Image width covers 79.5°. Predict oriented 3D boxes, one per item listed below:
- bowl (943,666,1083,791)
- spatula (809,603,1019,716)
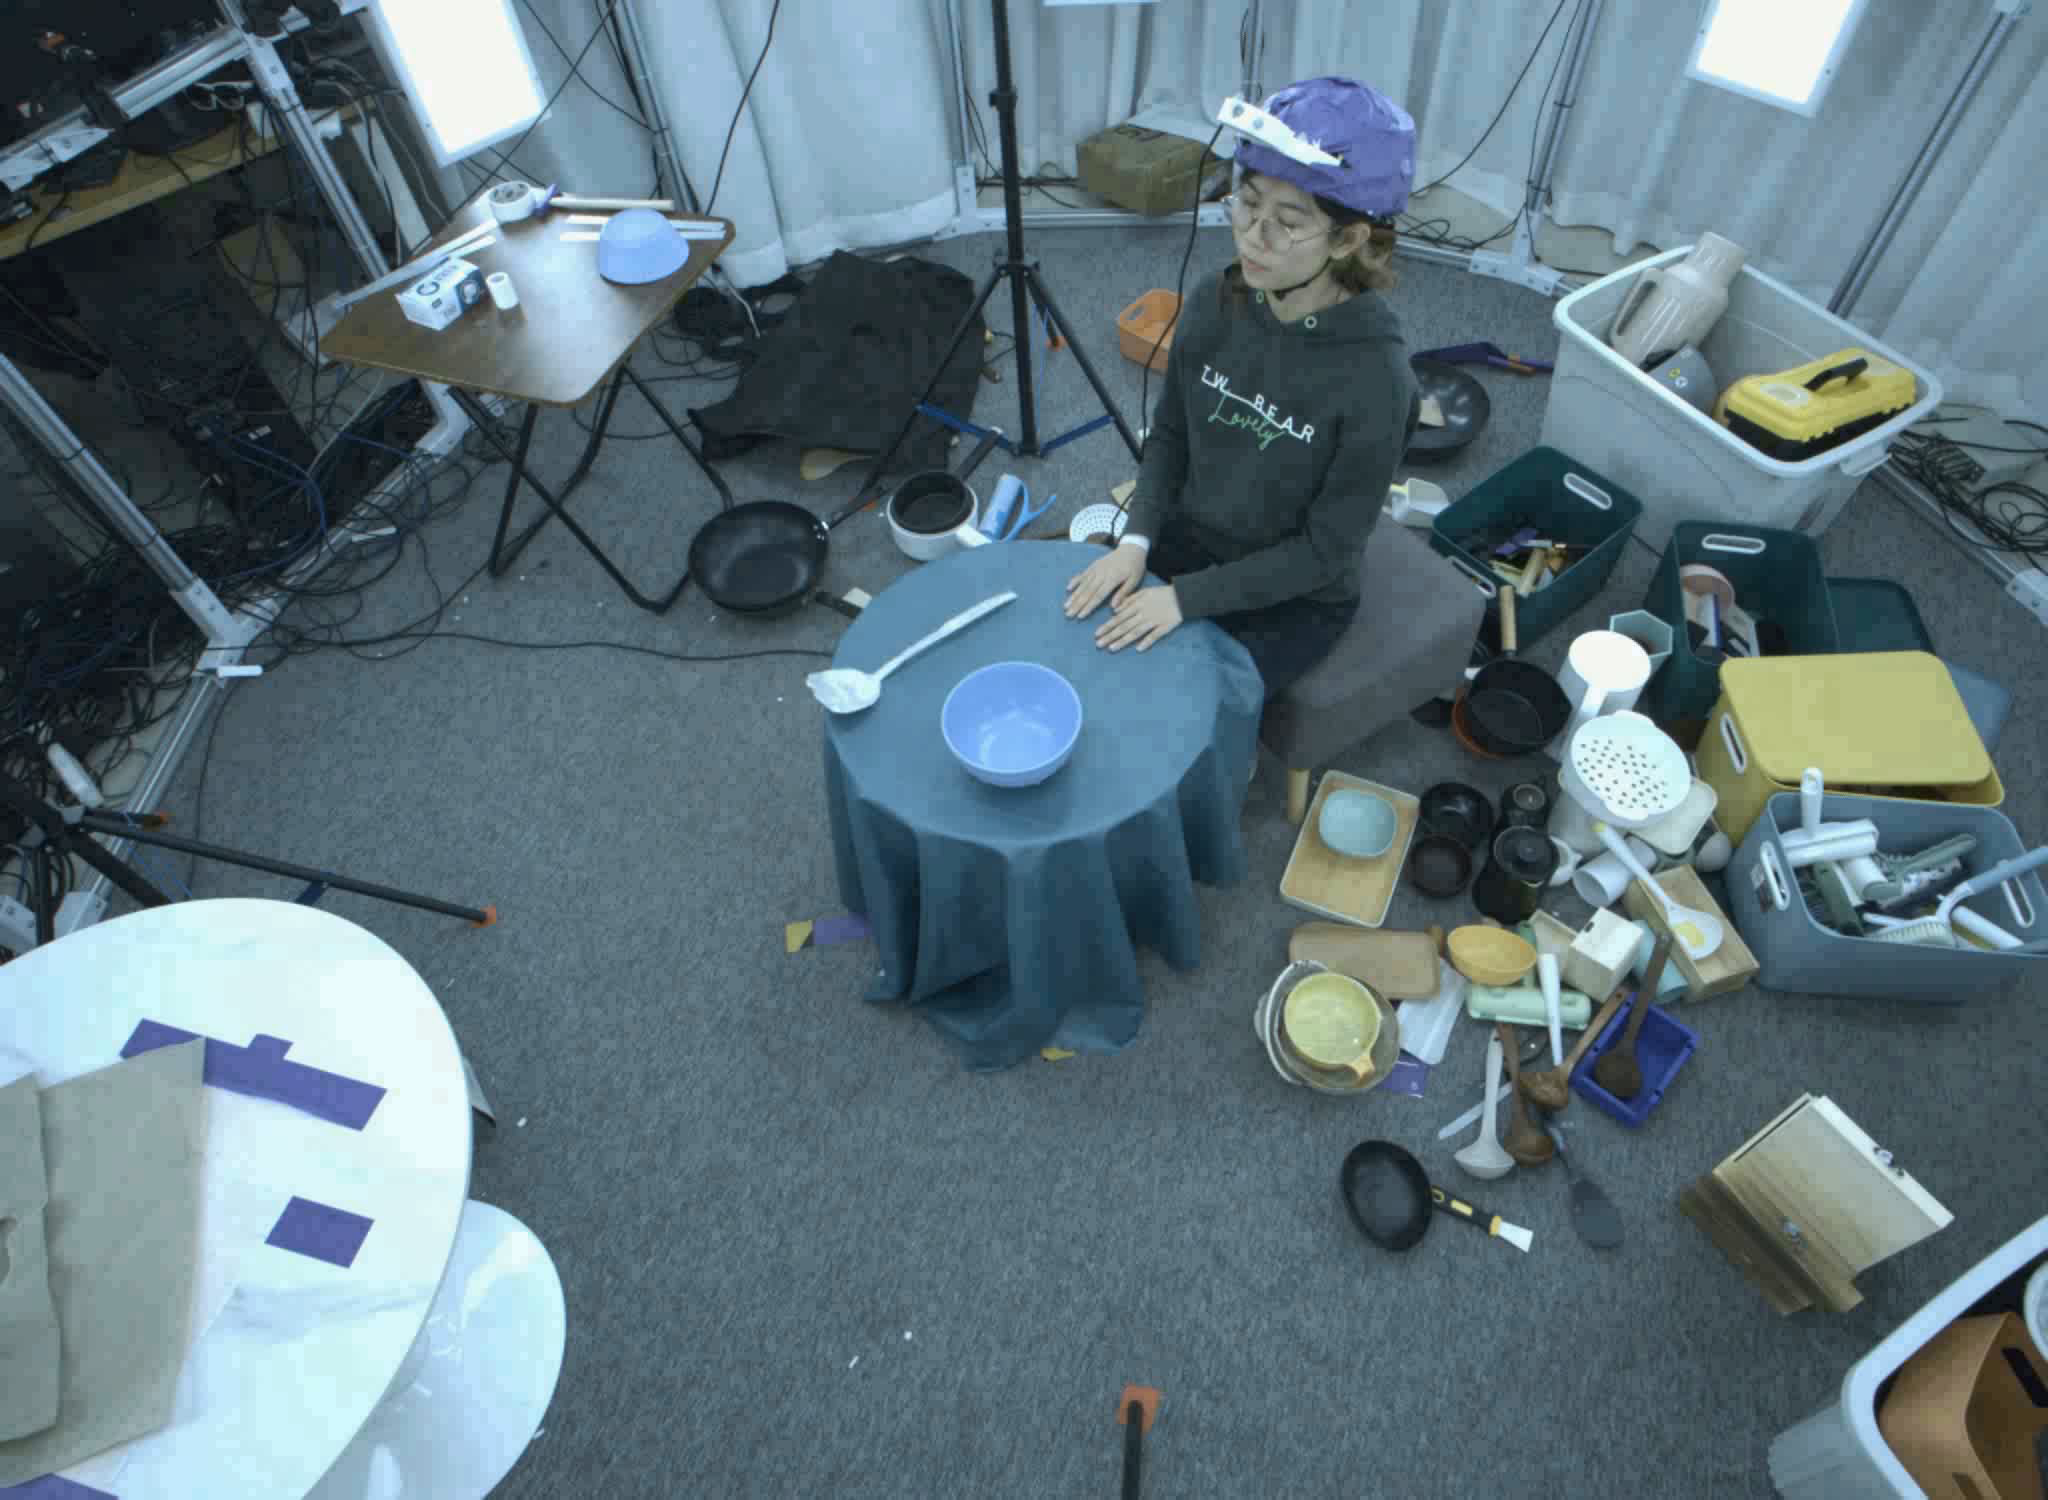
[{"bbox_3d":[-0.012,-0.016,1.752,0.196,0.096,0.194,-1,55,3],"label":"bowl"},{"bbox_3d":[-0.161,-0.154,1.887,0.368,0.045,0.097,-33,58,-19],"label":"spatula"}]
